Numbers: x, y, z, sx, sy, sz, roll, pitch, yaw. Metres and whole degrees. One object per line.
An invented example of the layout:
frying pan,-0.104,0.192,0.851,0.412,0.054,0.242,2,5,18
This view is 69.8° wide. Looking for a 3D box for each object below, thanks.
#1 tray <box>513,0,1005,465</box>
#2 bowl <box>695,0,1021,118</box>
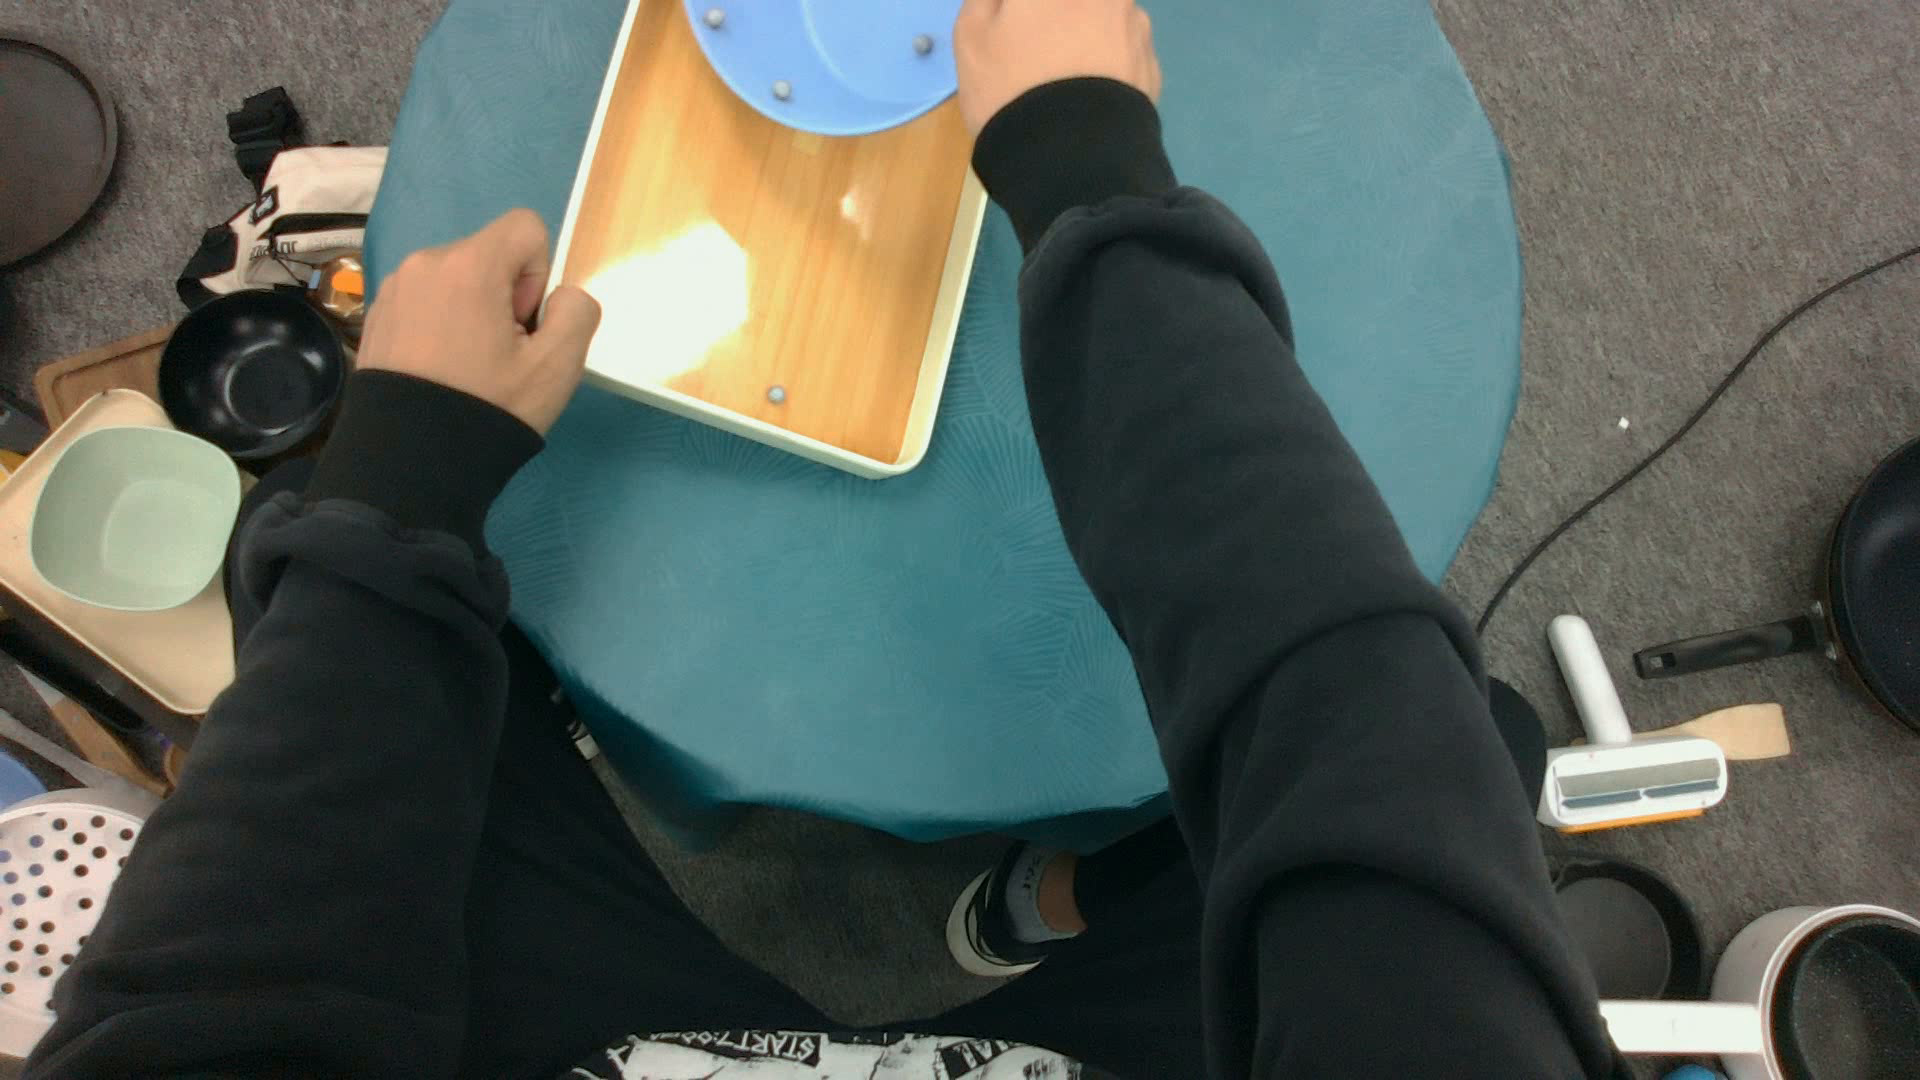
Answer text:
tray,-0.086,-0.201,0.673,0.192,0.027,0.301,18,75,-24
bowl,-0.033,-0.273,0.623,0.176,0.070,0.176,1,93,24
